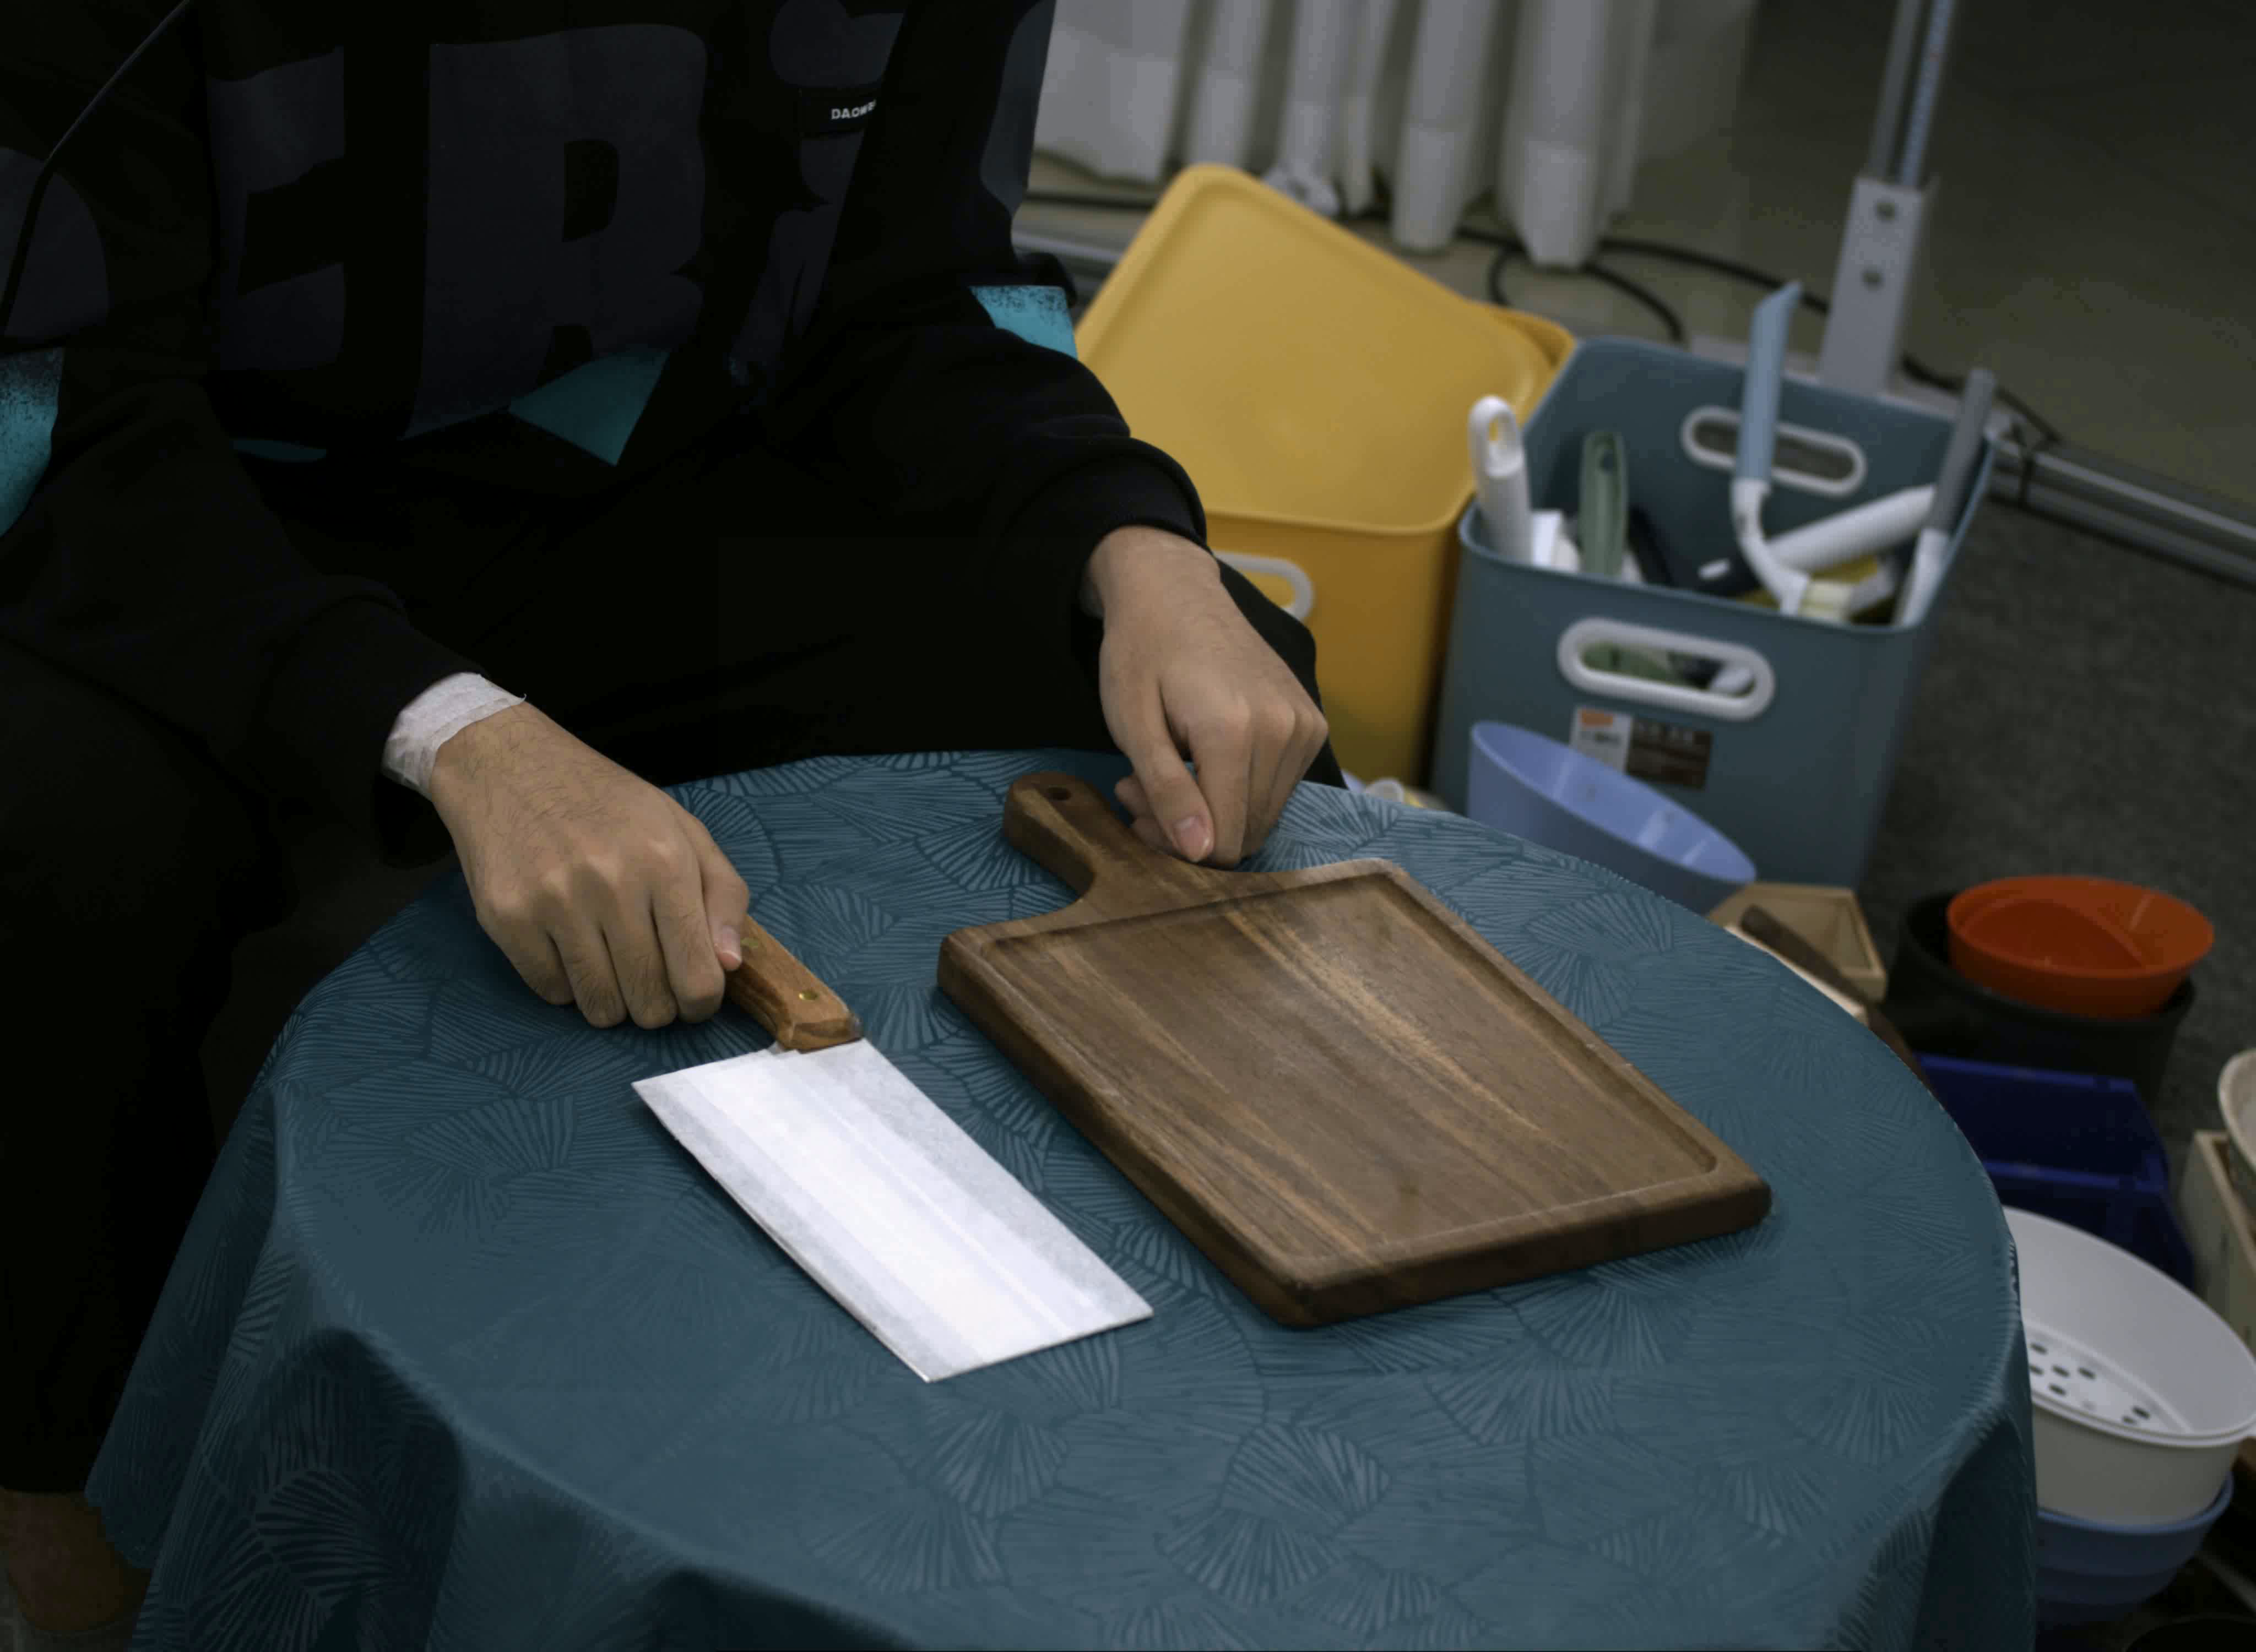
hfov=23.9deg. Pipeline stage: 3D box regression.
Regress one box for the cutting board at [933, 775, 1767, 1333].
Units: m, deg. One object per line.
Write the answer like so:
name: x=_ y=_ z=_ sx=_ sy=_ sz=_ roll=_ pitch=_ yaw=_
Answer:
cutting board: x=0.050 y=0.067 z=1.903 sx=0.200 sy=0.023 sz=0.355 roll=-10 pitch=31 yaw=-29

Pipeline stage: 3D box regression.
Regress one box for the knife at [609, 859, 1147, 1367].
knife: x=-0.111 y=0.096 z=1.814 sx=0.092 sy=0.021 sz=0.308 roll=-14 pitch=36 yaw=-32
